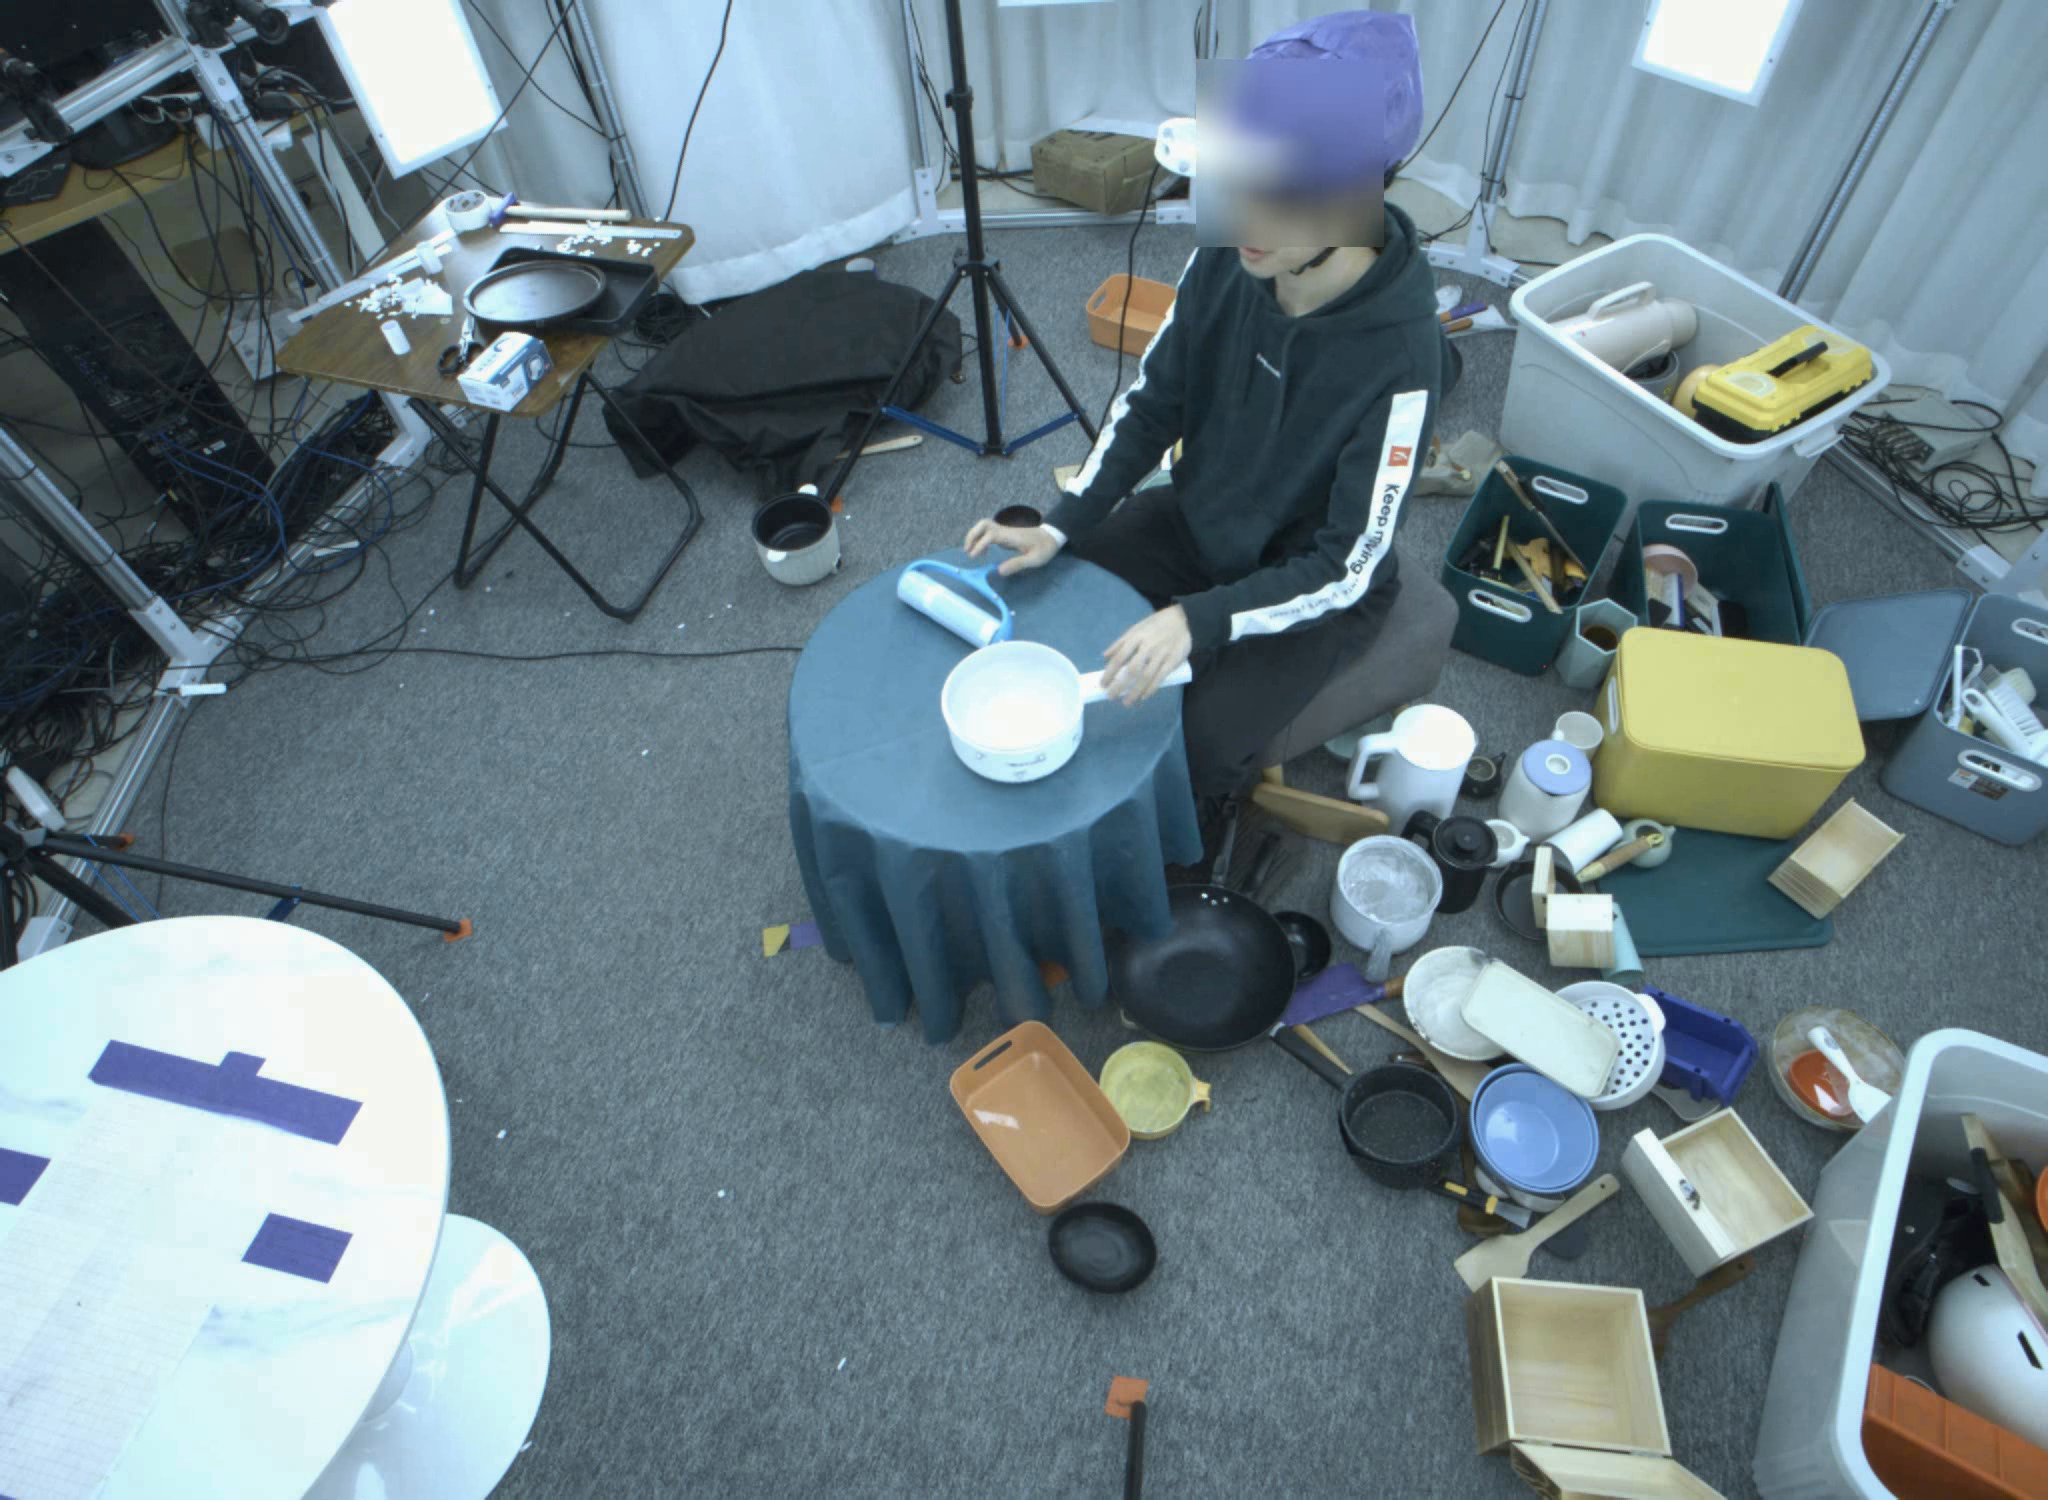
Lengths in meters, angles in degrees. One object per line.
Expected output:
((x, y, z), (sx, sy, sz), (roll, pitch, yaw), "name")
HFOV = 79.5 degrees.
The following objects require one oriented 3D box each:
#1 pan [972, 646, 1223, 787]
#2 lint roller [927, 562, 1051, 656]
((0.105, -0.055, 1.758), (0.356, 0.103, 0.198), (-9, 54, -5), "pan")
((-0.025, -0.250, 1.926), (0.225, 0.069, 0.181), (32, 63, 24), "lint roller")
